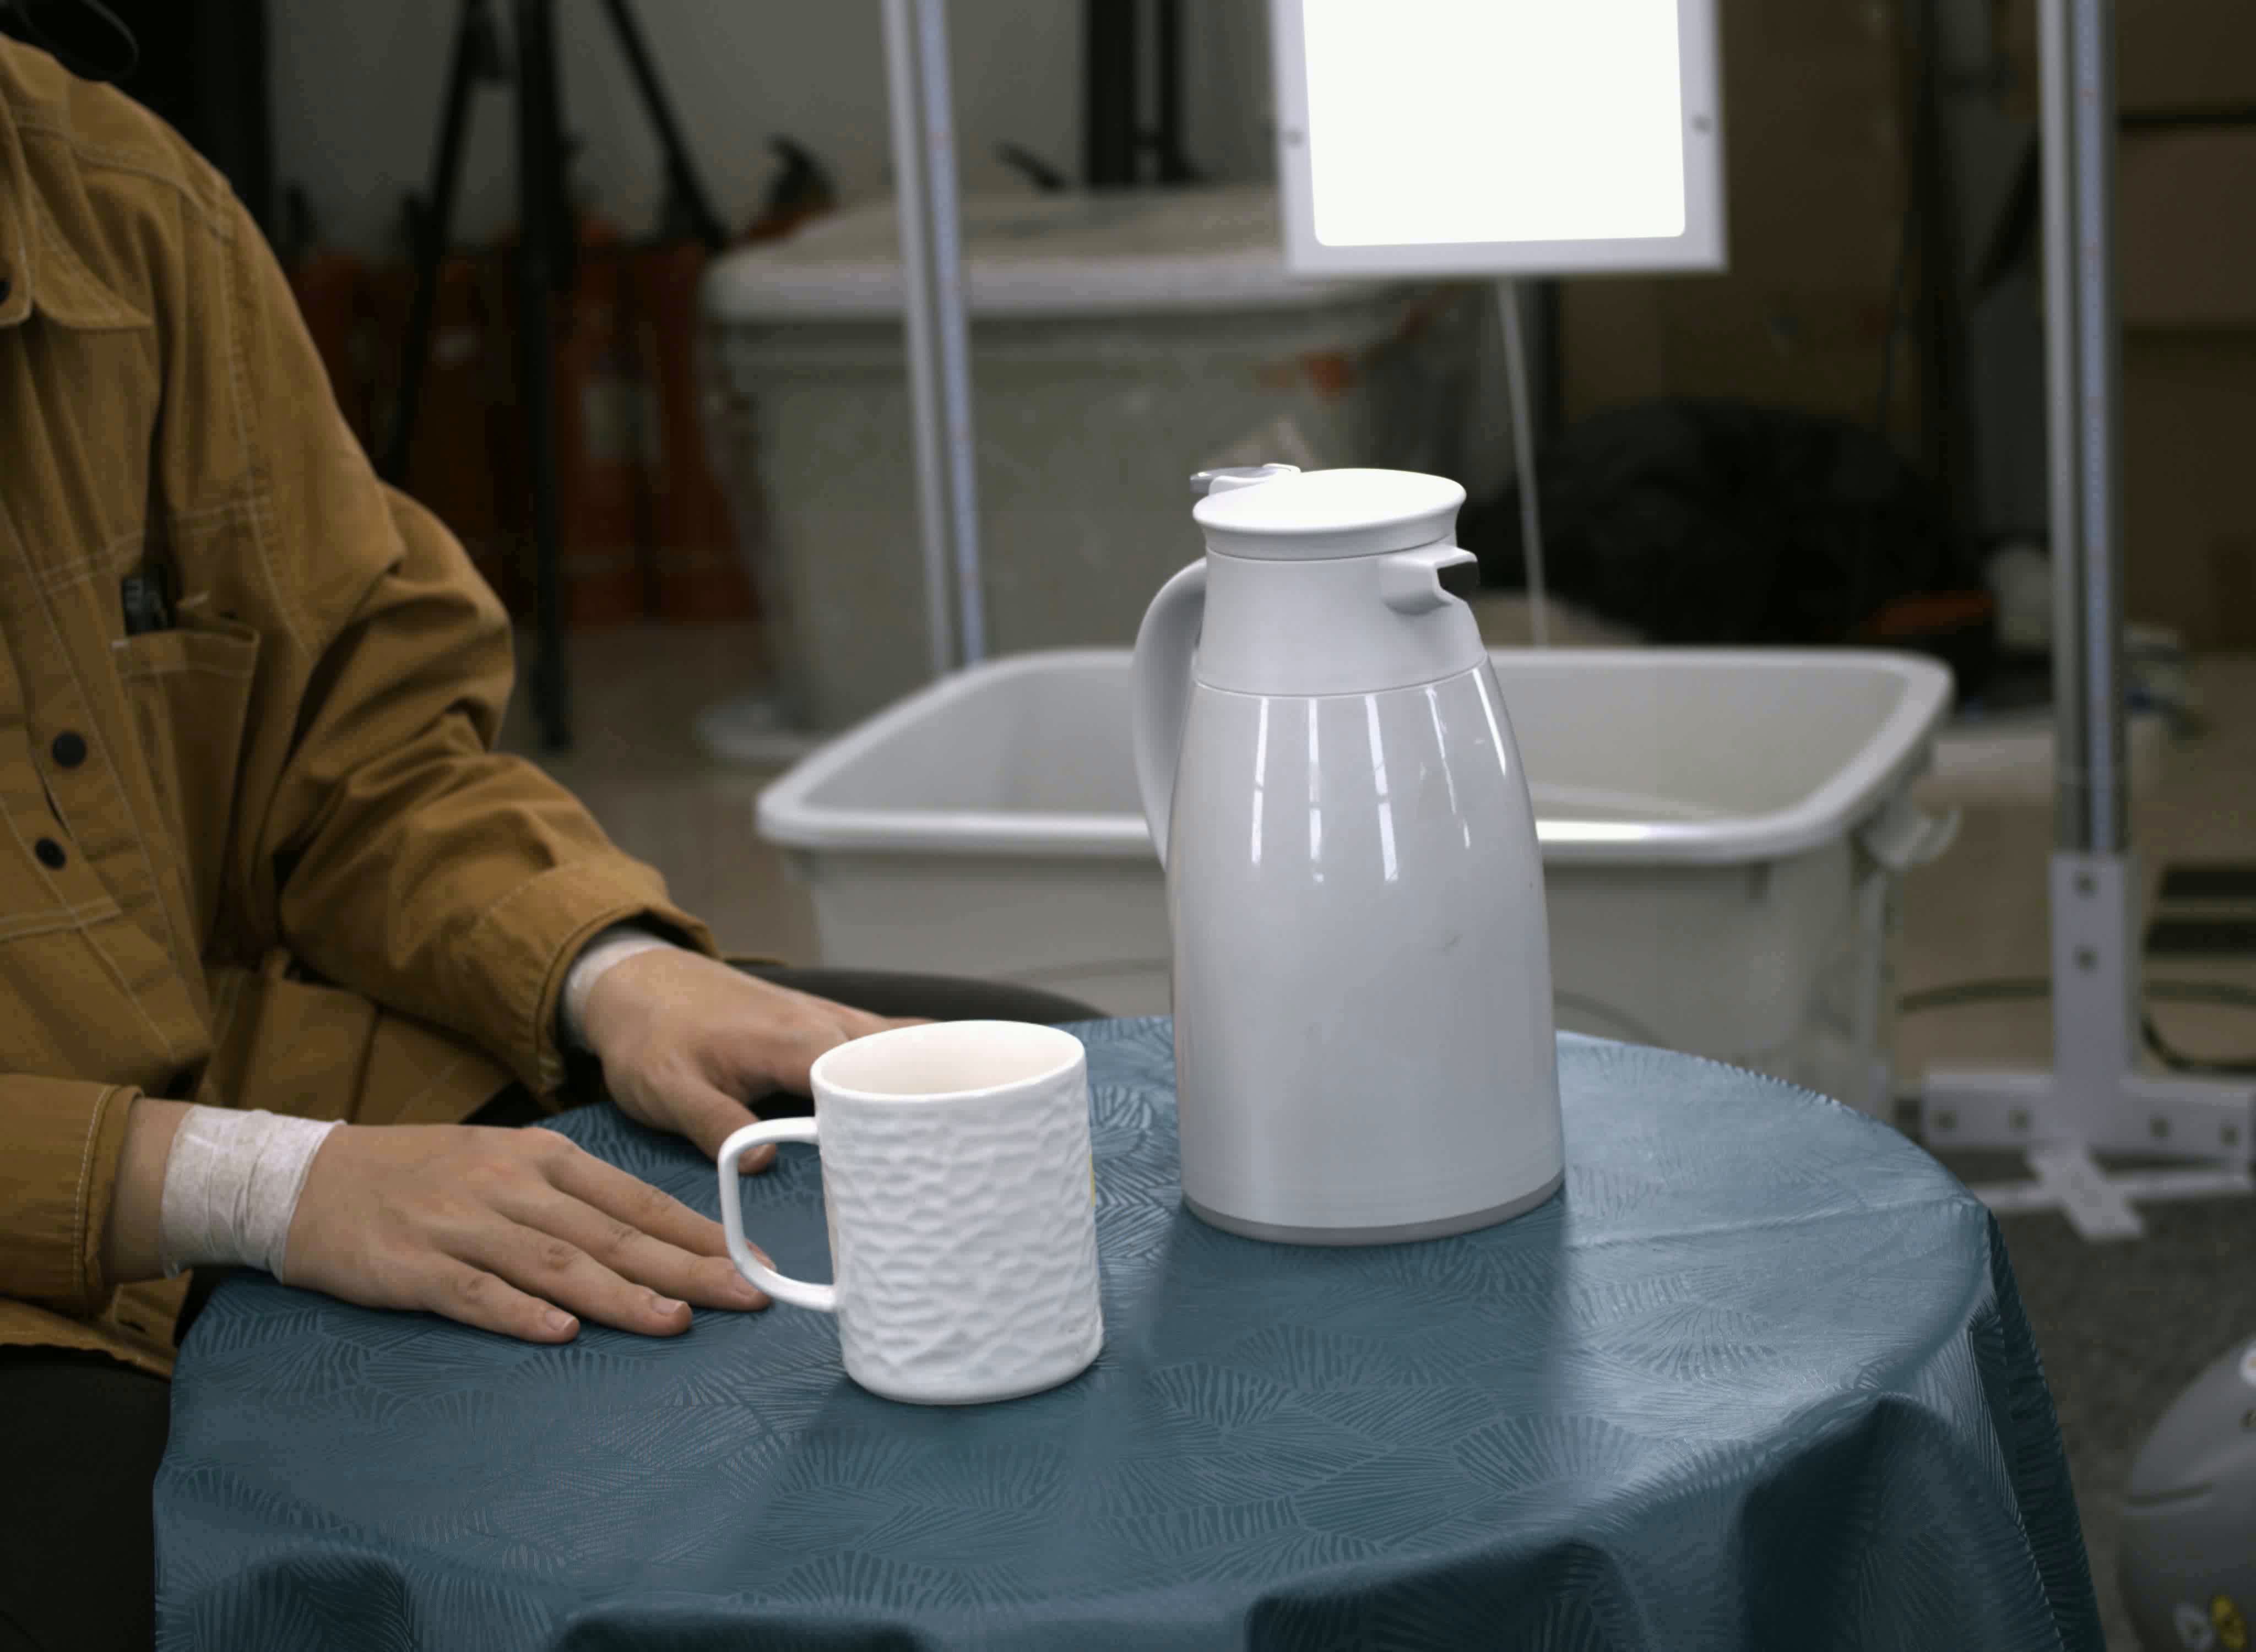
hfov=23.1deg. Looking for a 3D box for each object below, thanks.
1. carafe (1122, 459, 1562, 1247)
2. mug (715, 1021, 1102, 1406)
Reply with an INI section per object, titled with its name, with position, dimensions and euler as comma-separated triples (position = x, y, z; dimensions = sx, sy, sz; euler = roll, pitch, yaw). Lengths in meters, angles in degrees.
[carafe]
position = 0.061, 0.001, 1.865
dimensions = 0.129, 0.249, 0.171
euler = -16, 18, -37
[mug]
position = -0.069, 0.123, 1.727
dimensions = 0.118, 0.102, 0.085
euler = -5, 13, 0
